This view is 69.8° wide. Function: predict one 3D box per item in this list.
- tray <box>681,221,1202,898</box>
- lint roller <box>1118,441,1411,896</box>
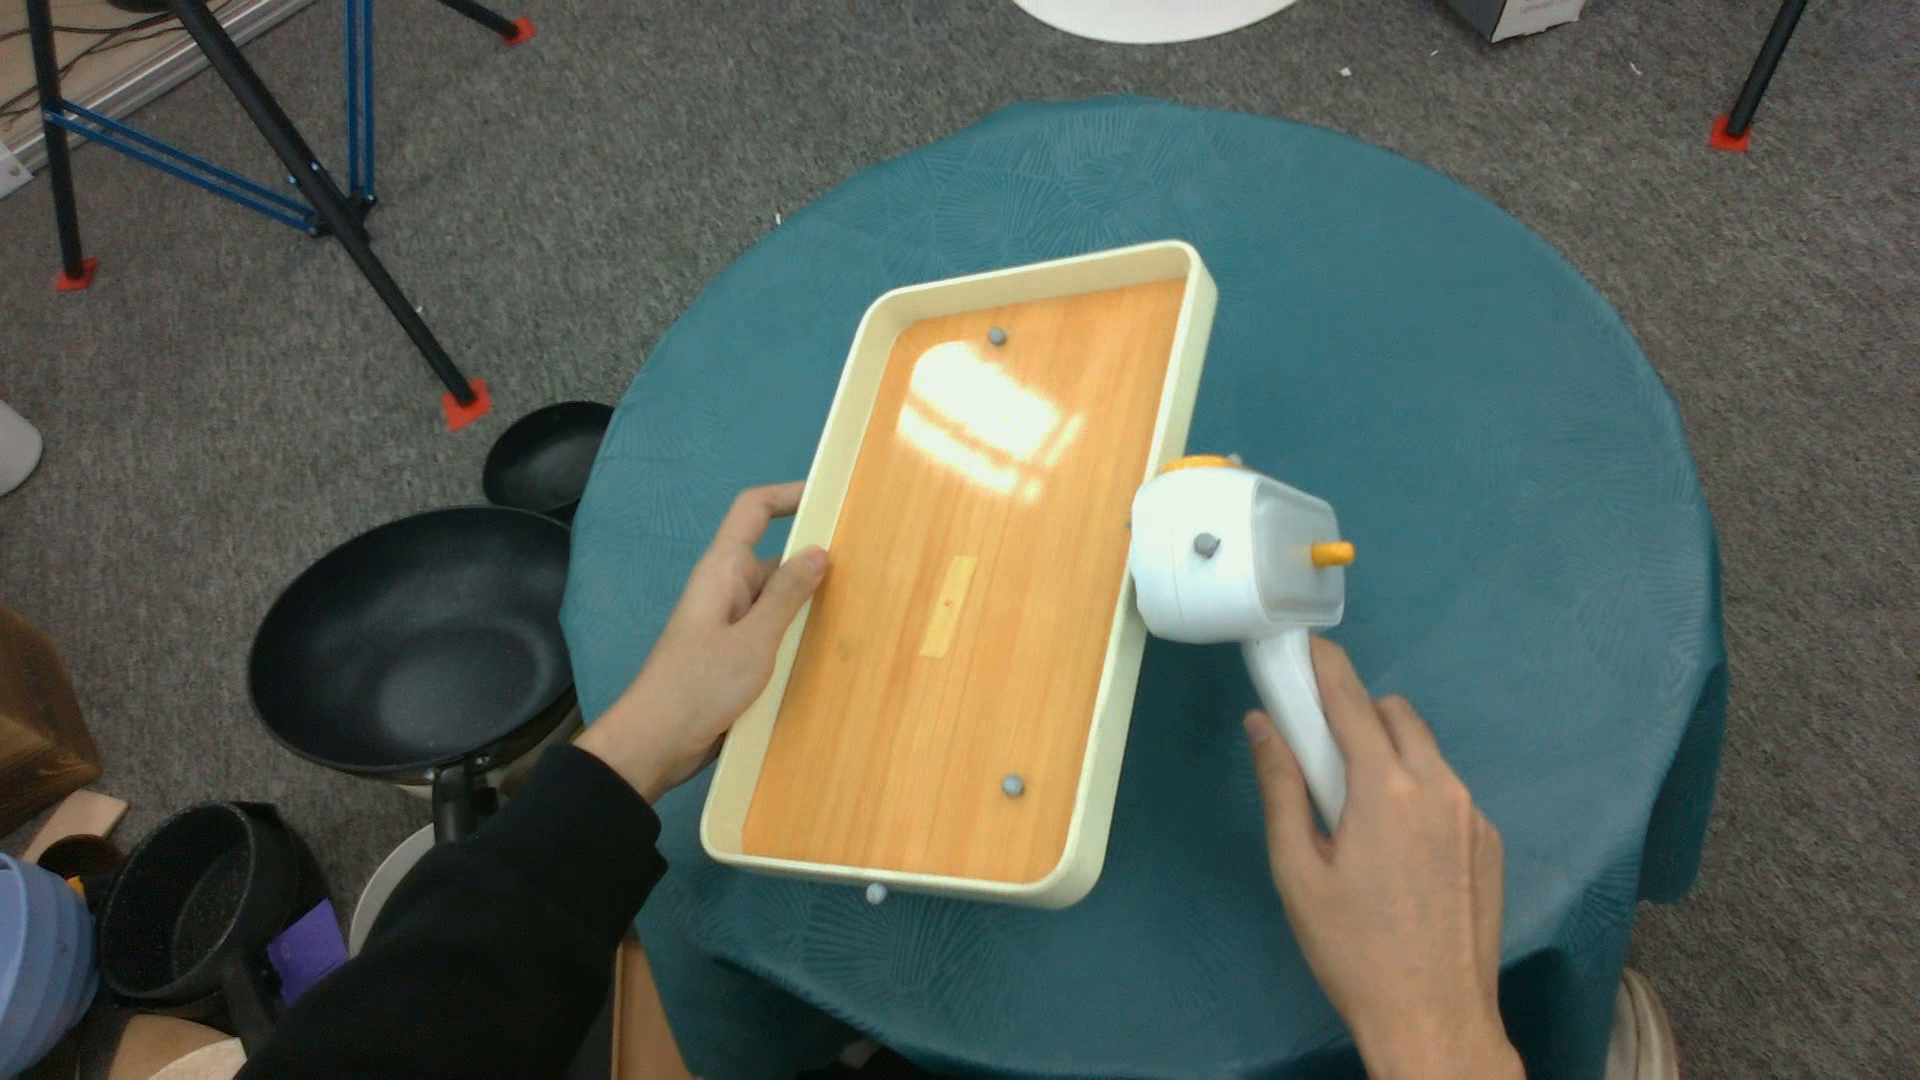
[{"bbox_3d":[-0.006,-0.002,0.607,0.191,0.027,0.301,-2,62,33],"label":"tray"},{"bbox_3d":[0.133,0.053,0.567,0.074,0.193,0.192,-15,85,19],"label":"lint roller"}]
